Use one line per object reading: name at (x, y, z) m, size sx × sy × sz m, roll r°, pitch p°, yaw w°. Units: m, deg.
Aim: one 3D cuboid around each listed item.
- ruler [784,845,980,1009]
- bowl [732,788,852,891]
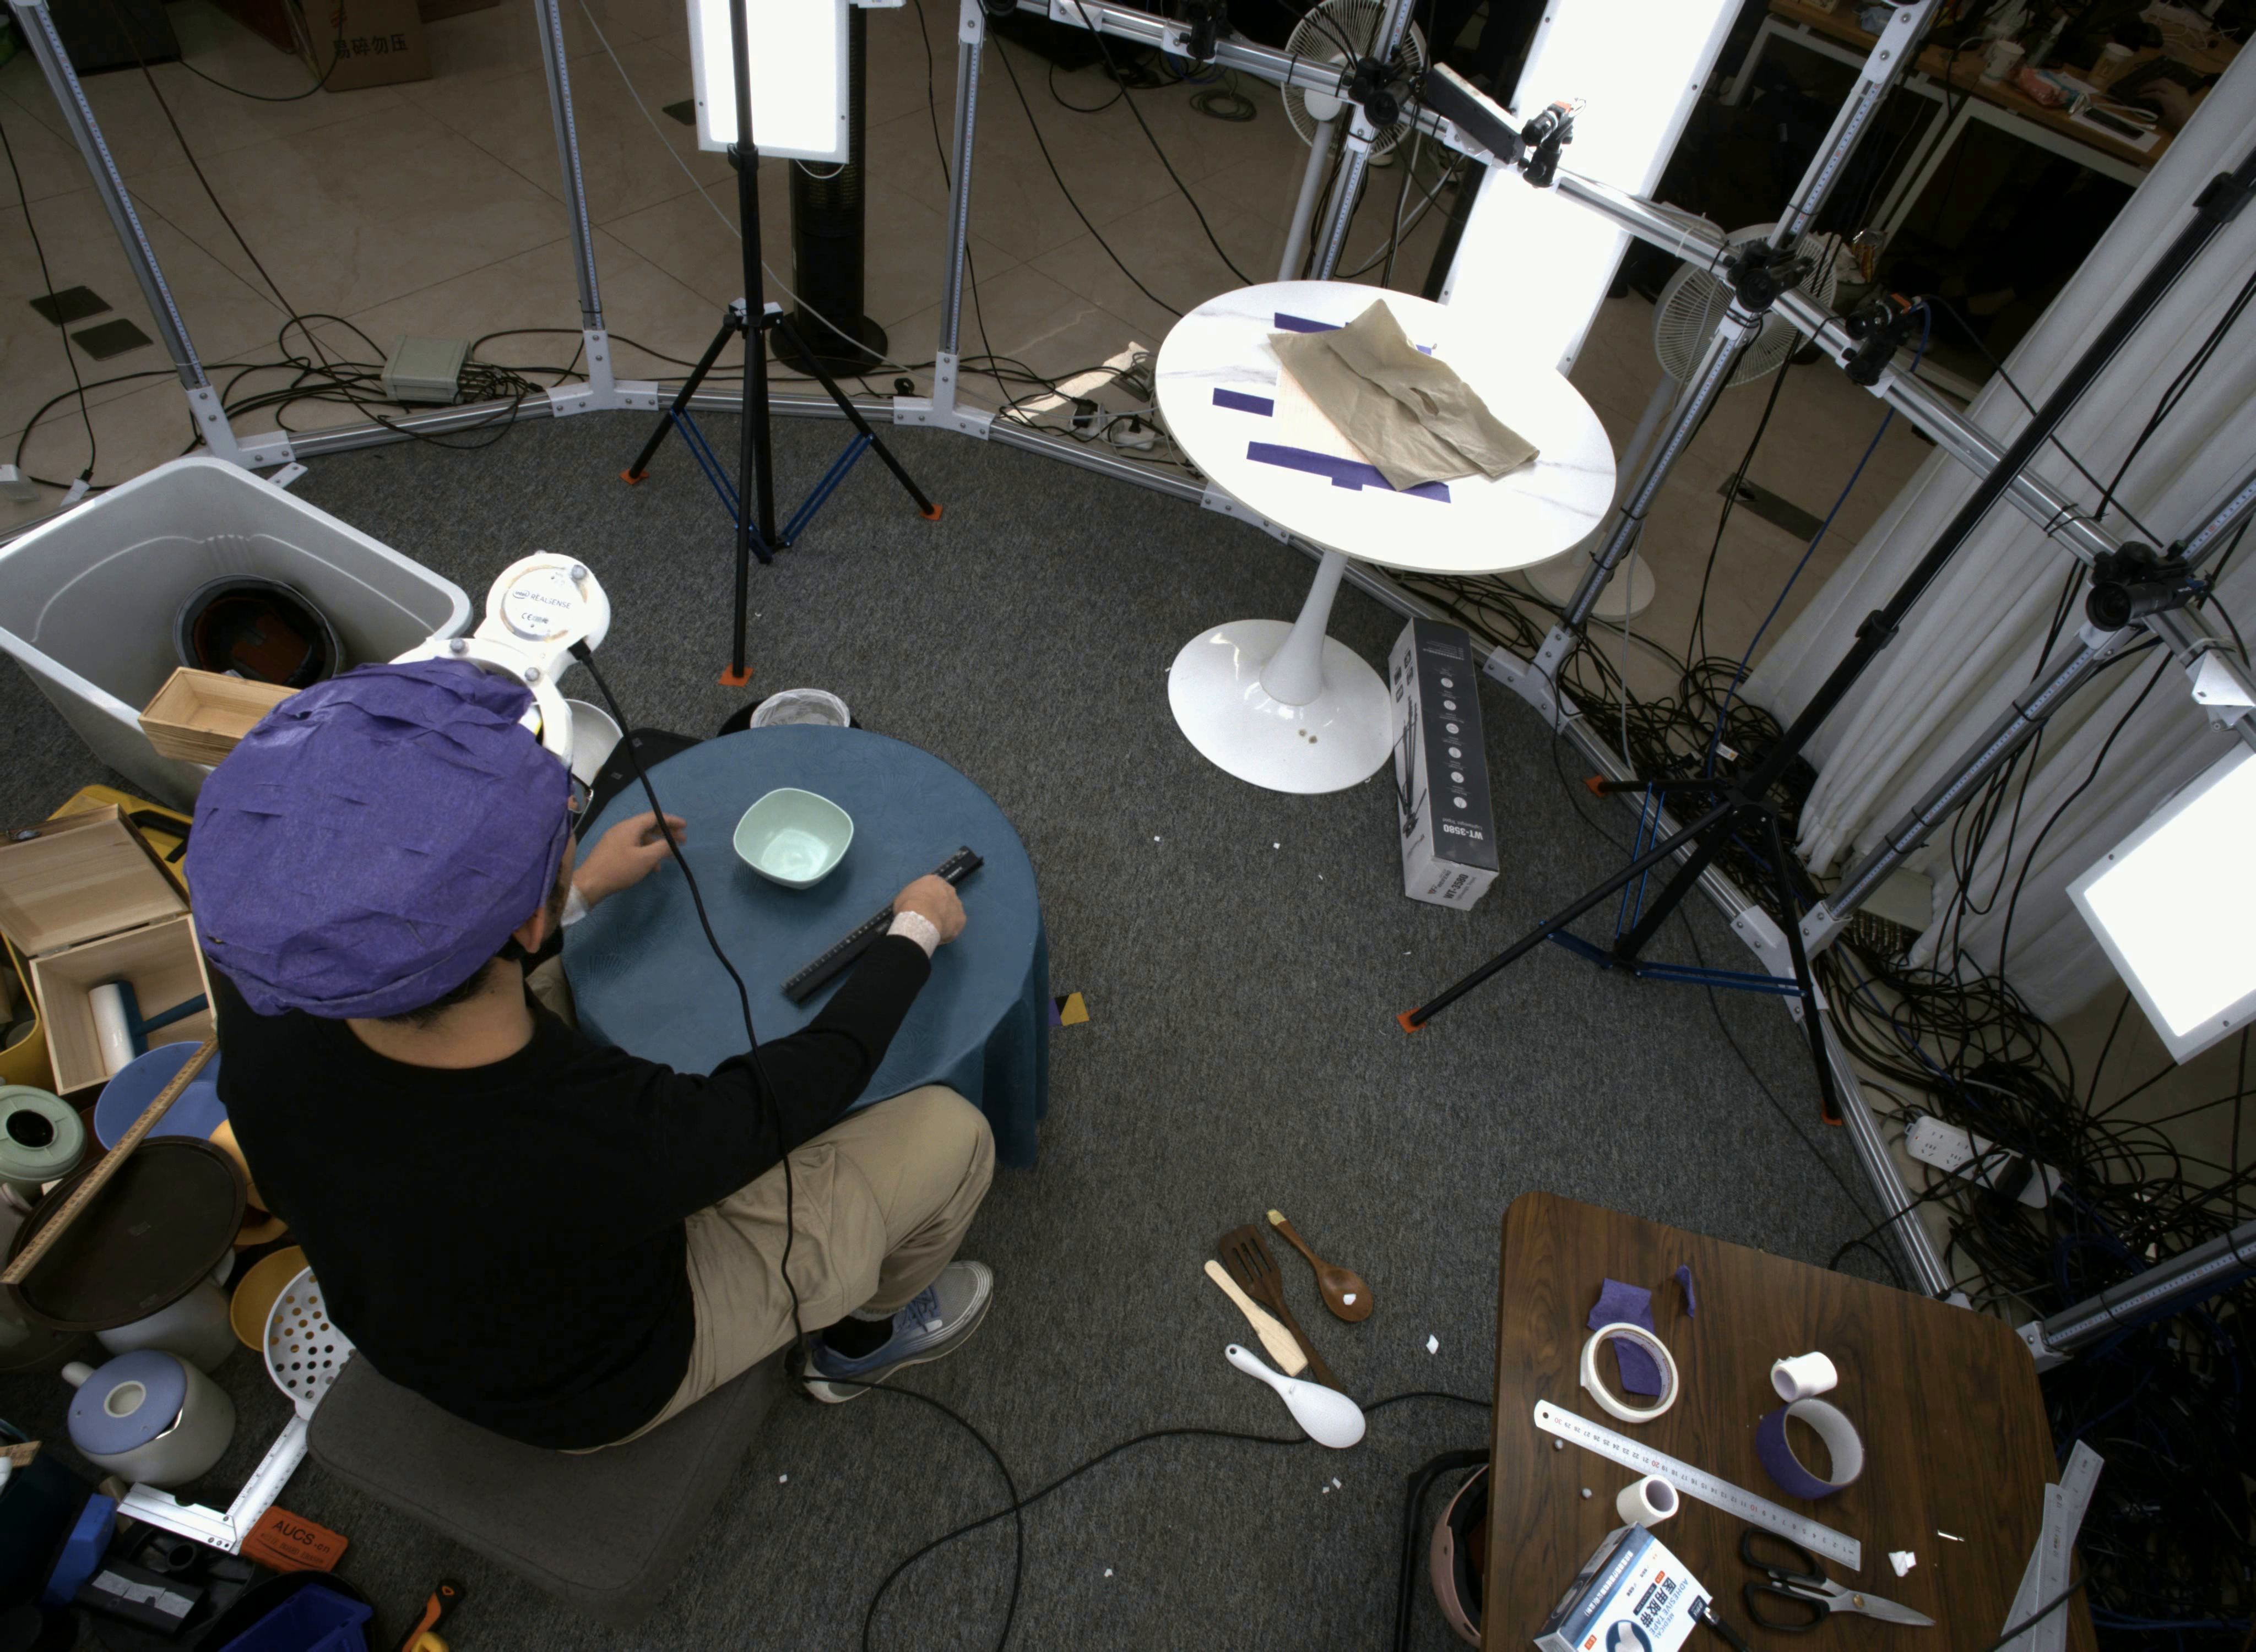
ruler at (-0.304, 0.117, 1.640) m, size 0.039 × 0.017 × 0.313 m, roll 43°, pitch 56°, yaw 9°
bowl at (-0.430, 0.026, 1.662) m, size 0.151 × 0.060 × 0.148 m, roll 9°, pitch 50°, yaw -10°
